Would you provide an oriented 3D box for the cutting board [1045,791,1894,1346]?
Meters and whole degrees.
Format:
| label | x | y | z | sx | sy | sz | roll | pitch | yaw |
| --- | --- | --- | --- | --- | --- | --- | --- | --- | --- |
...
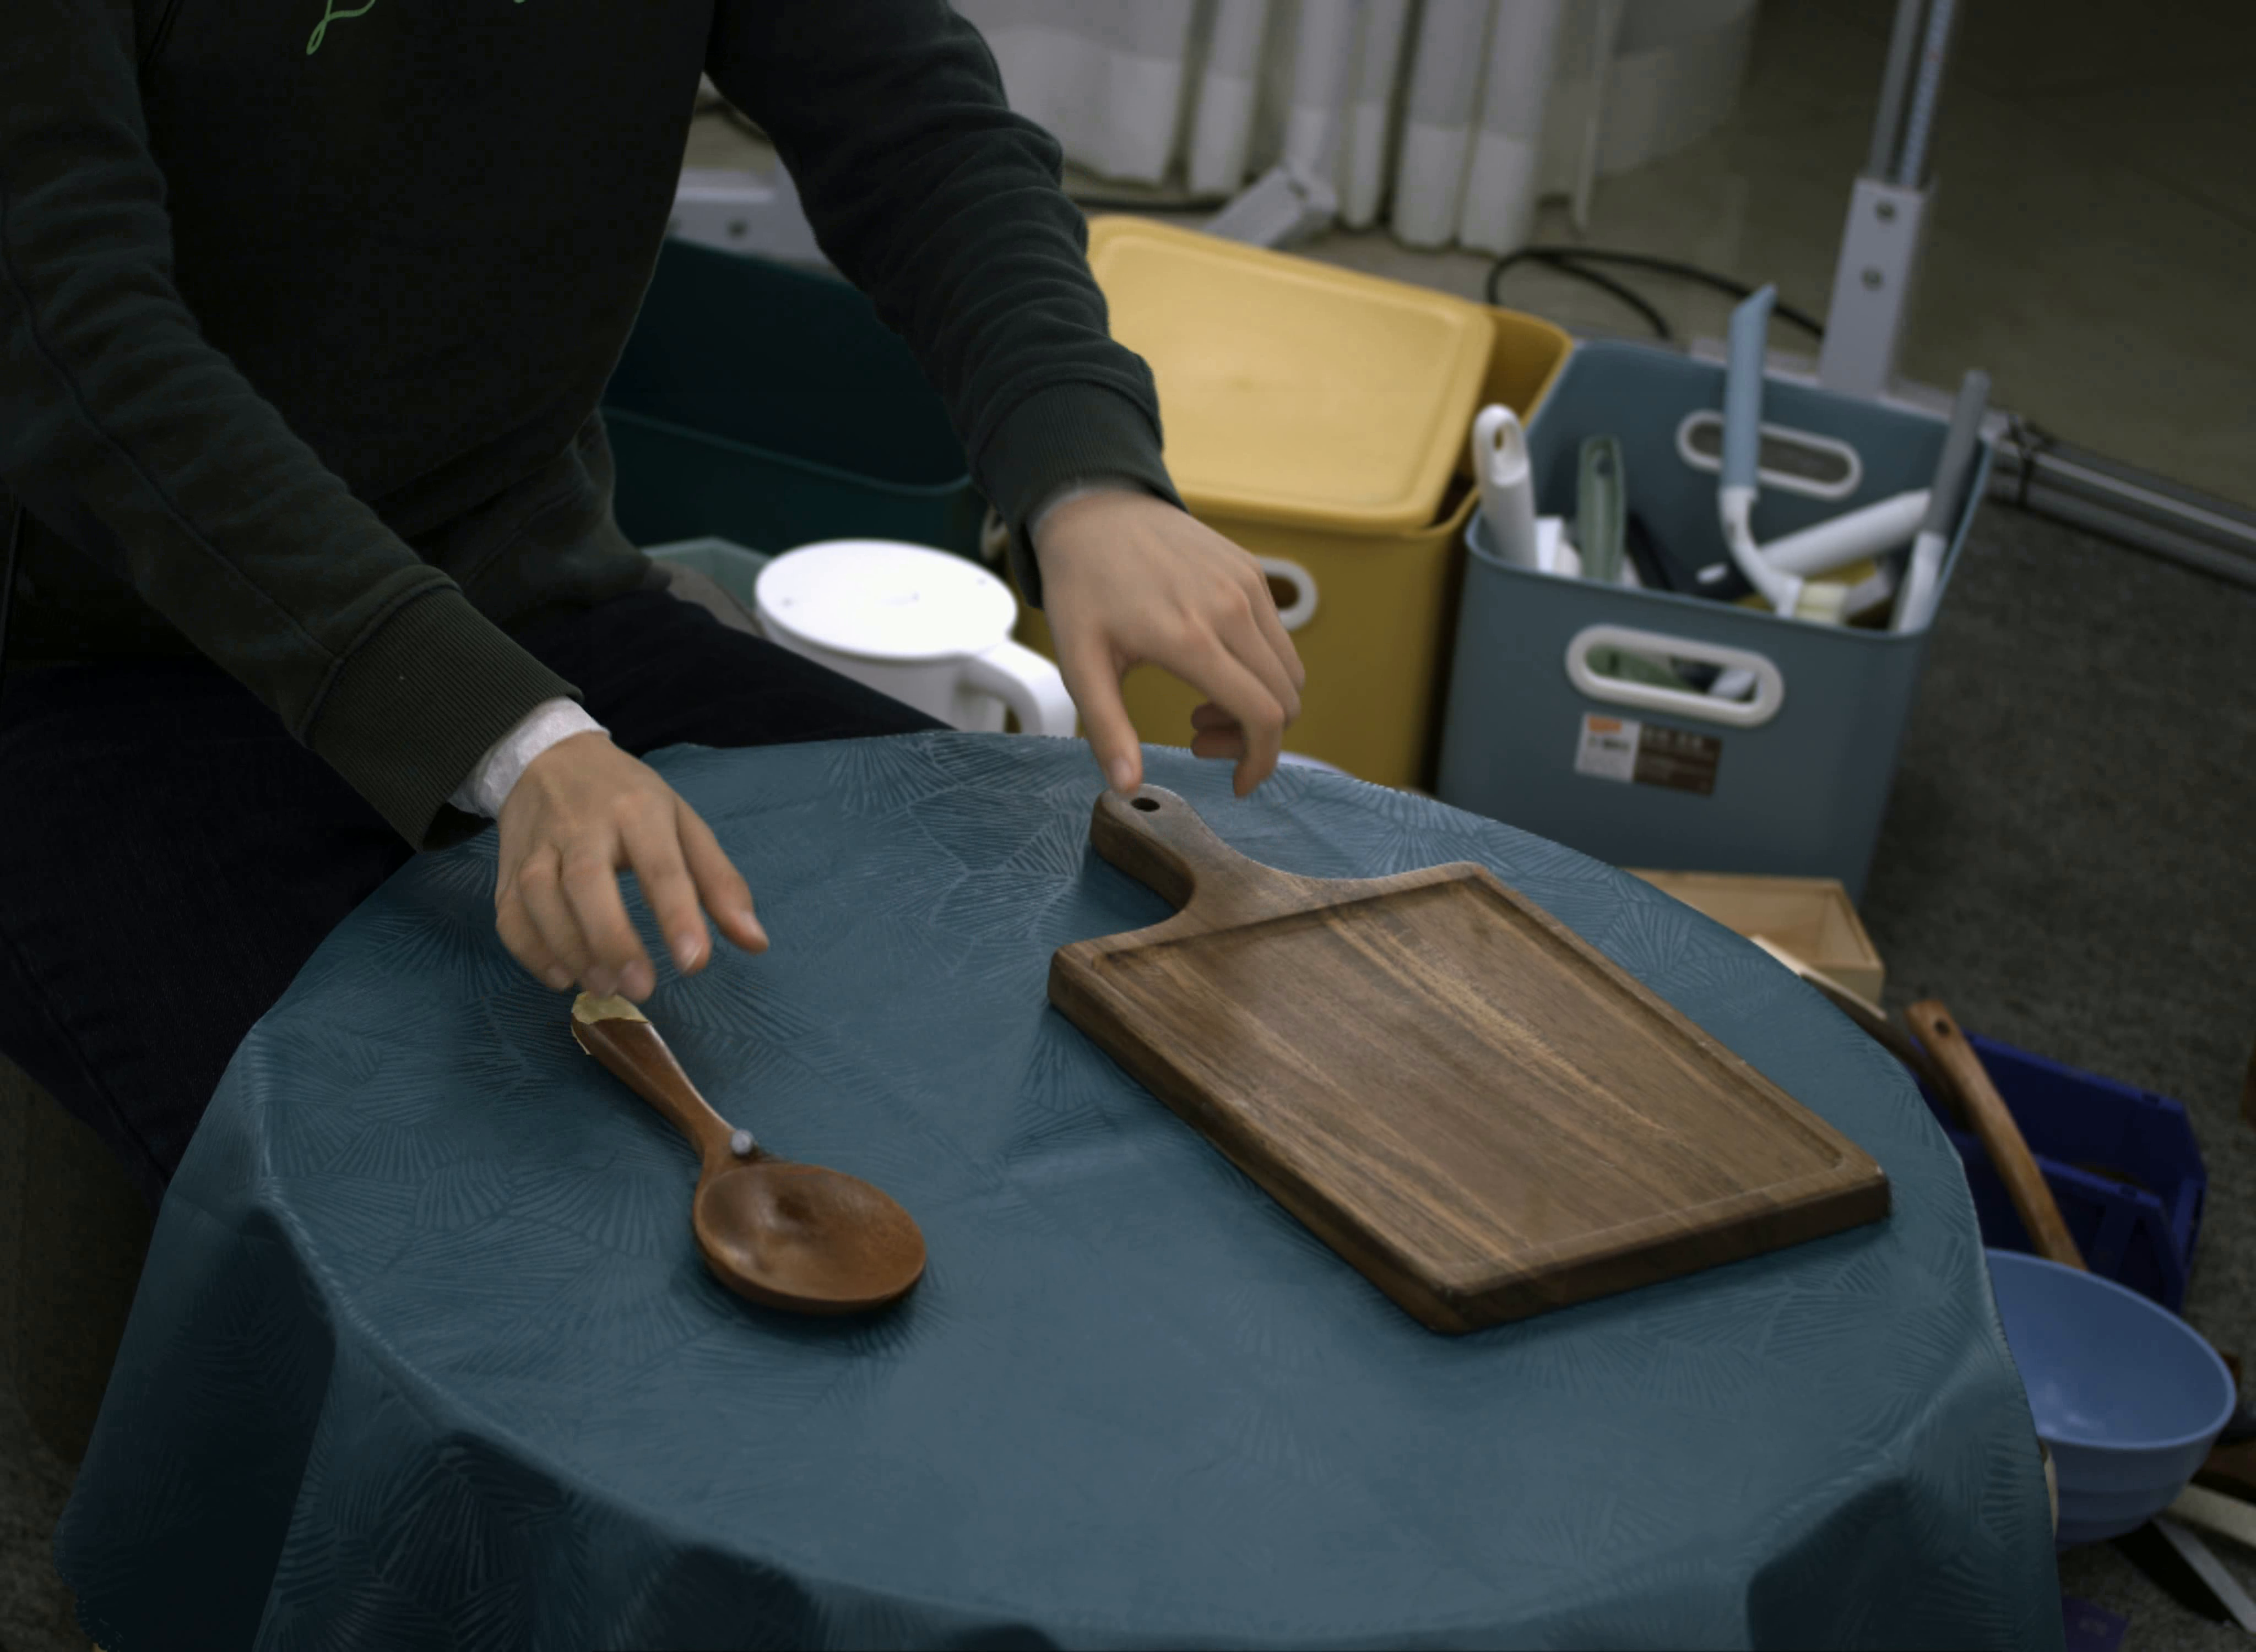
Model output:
| label | x | y | z | sx | sy | sz | roll | pitch | yaw |
| --- | --- | --- | --- | --- | --- | --- | --- | --- | --- |
| cutting board | 0.091 | 0.071 | 1.907 | 0.200 | 0.023 | 0.355 | -12 | 32 | -31 |

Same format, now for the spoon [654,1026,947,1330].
| label | x | y | z | sx | sy | sz | roll | pitch | yaw |
| --- | --- | --- | --- | --- | --- | --- | --- | --- | --- |
| spoon | -0.120 | 0.119 | 1.779 | 0.075 | 0.017 | 0.217 | -2 | 24 | -21 |
